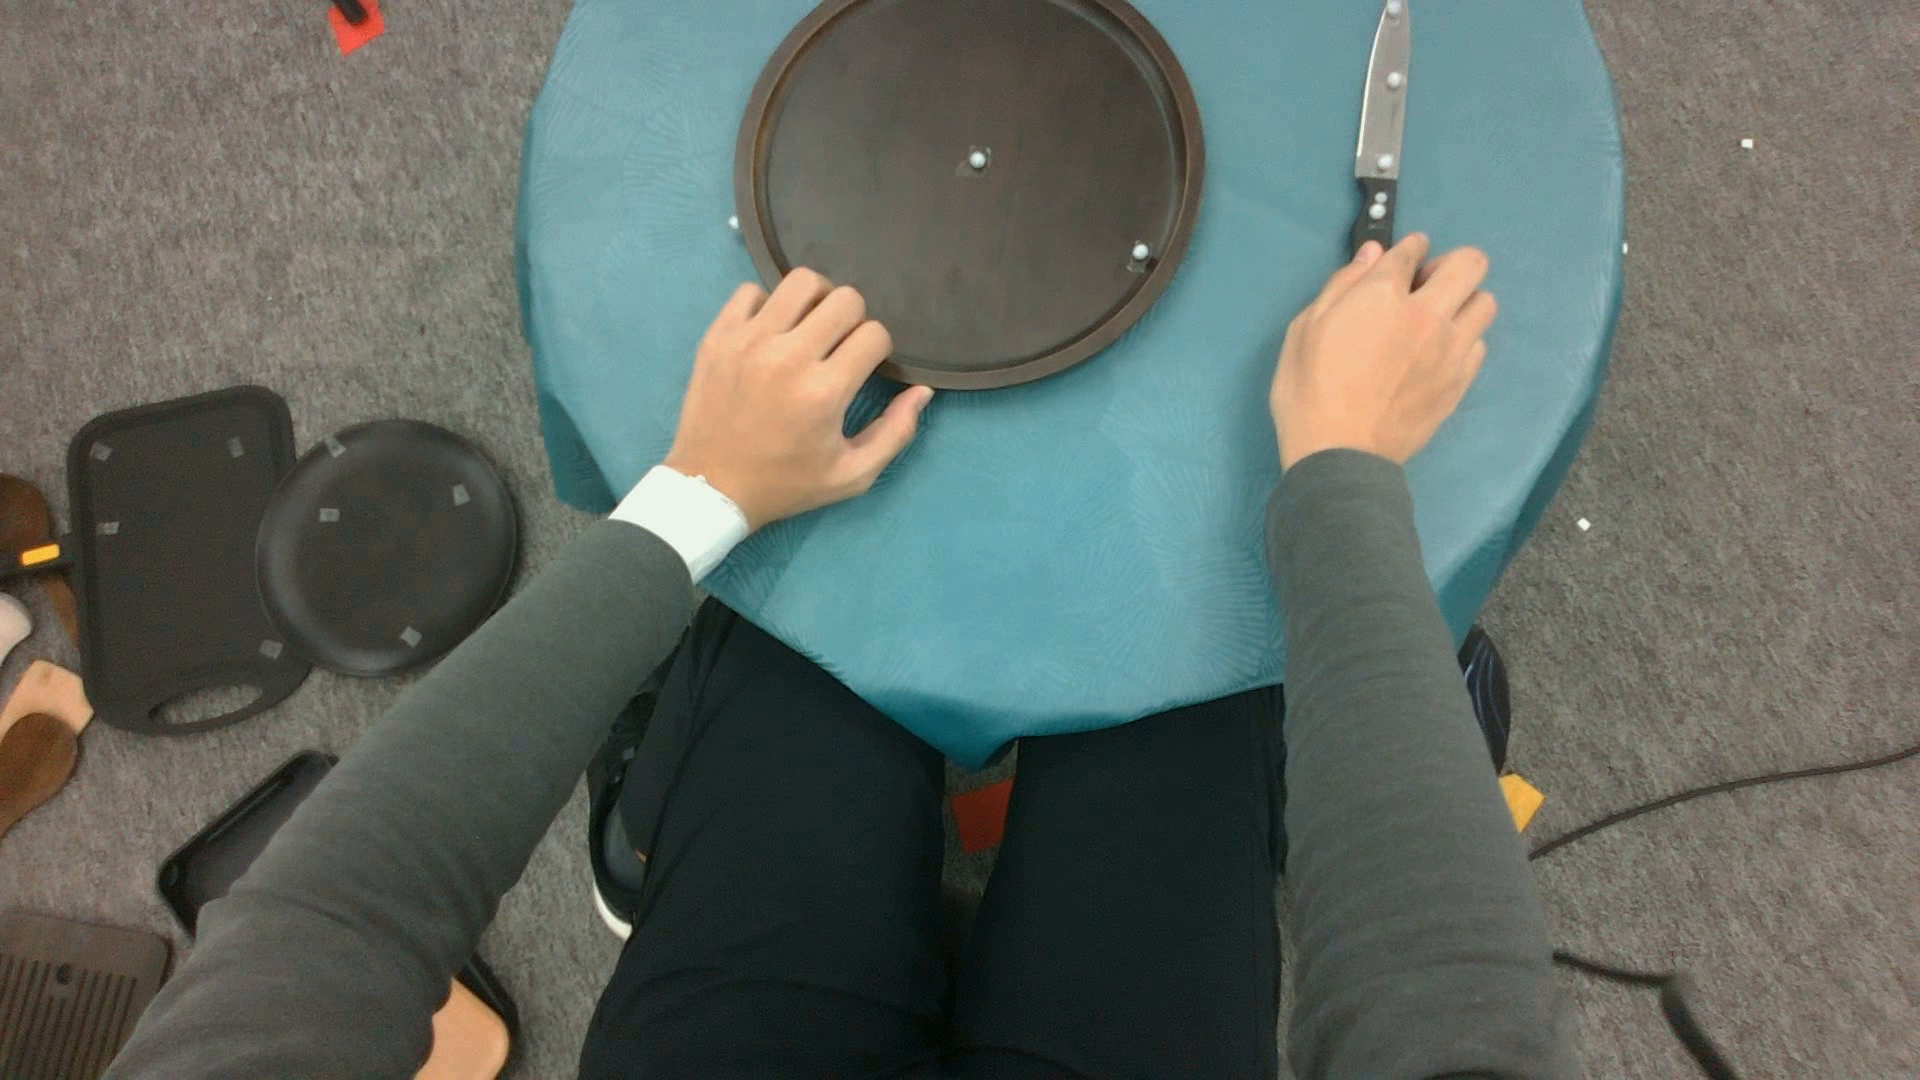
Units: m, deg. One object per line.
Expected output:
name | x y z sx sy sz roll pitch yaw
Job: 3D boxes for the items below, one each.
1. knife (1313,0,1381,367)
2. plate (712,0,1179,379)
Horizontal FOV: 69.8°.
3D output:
knife | 0.214 -0.204 0.748 0.024 0.016 0.239 8 75 8
plate | -0.008 -0.206 0.749 0.255 0.029 0.255 0 76 2
